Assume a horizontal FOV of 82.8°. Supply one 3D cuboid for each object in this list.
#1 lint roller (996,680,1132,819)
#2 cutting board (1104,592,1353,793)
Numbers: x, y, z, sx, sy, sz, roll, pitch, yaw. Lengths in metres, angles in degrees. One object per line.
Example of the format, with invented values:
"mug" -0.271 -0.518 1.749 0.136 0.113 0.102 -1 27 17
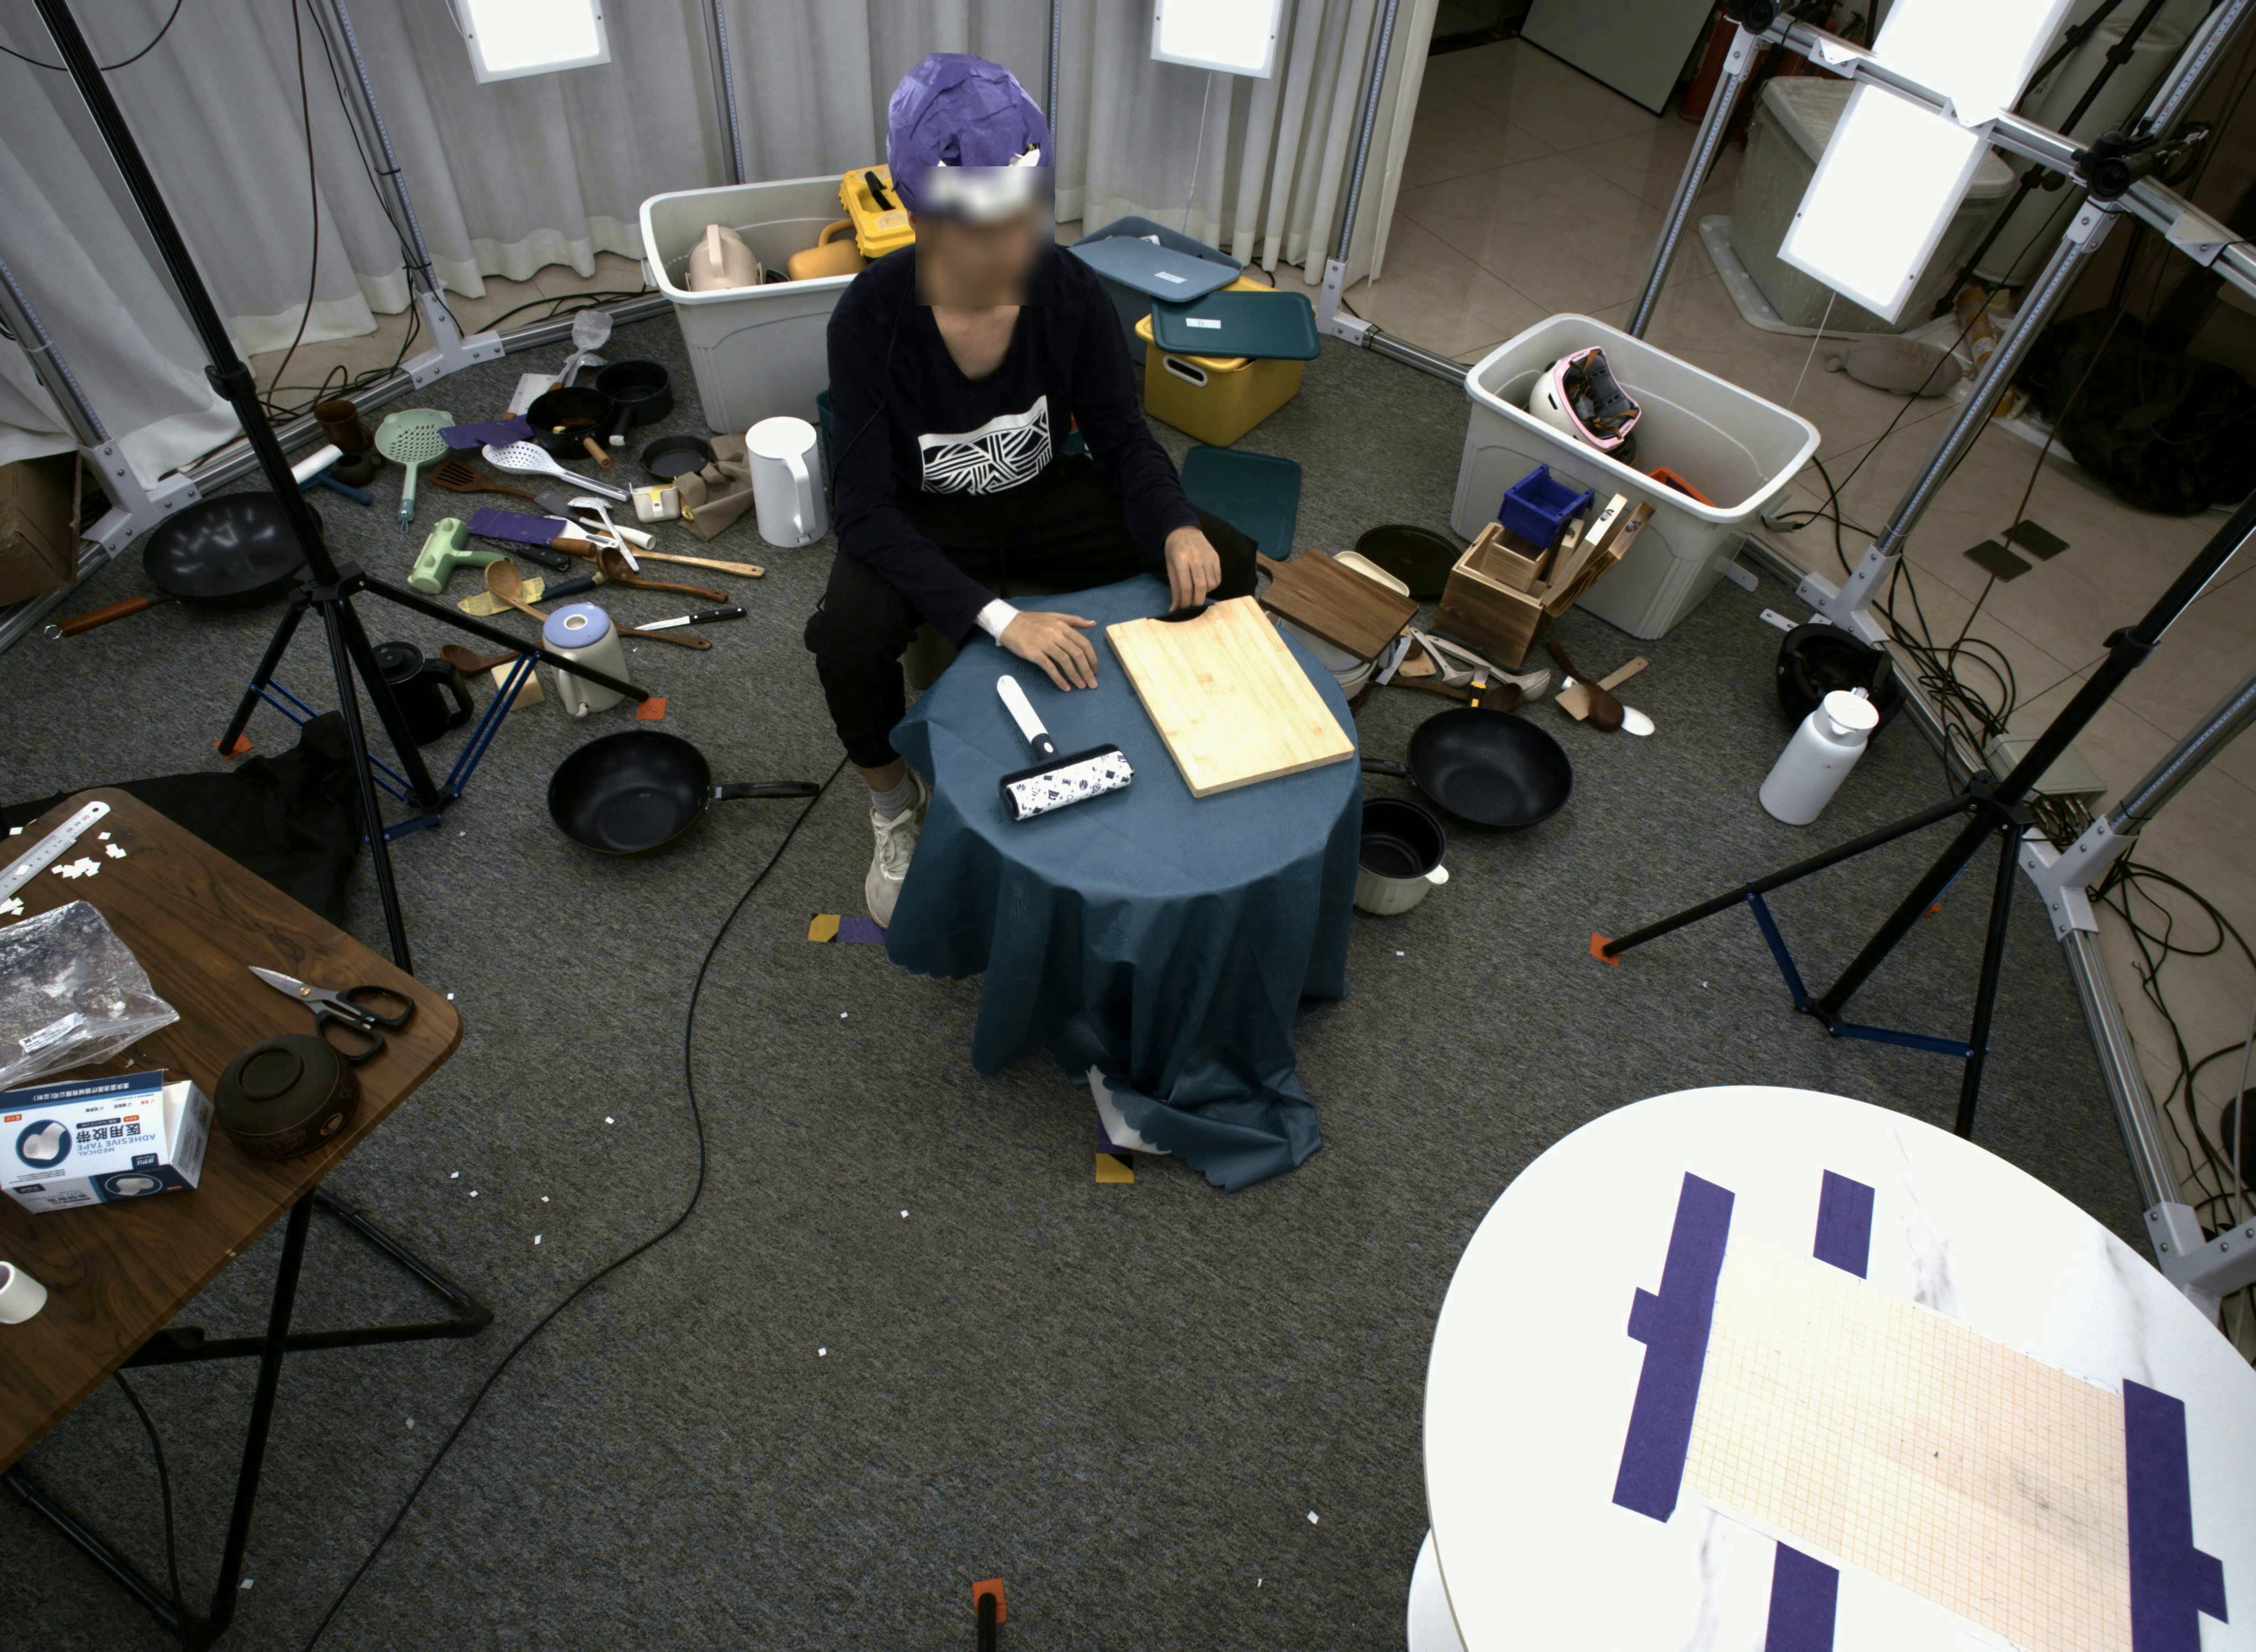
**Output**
"lint roller" -0.125 -0.123 1.739 0.176 0.049 0.252 -20 51 -18
"cutting board" 0.137 -0.199 1.839 0.251 0.023 0.357 -15 52 -16
